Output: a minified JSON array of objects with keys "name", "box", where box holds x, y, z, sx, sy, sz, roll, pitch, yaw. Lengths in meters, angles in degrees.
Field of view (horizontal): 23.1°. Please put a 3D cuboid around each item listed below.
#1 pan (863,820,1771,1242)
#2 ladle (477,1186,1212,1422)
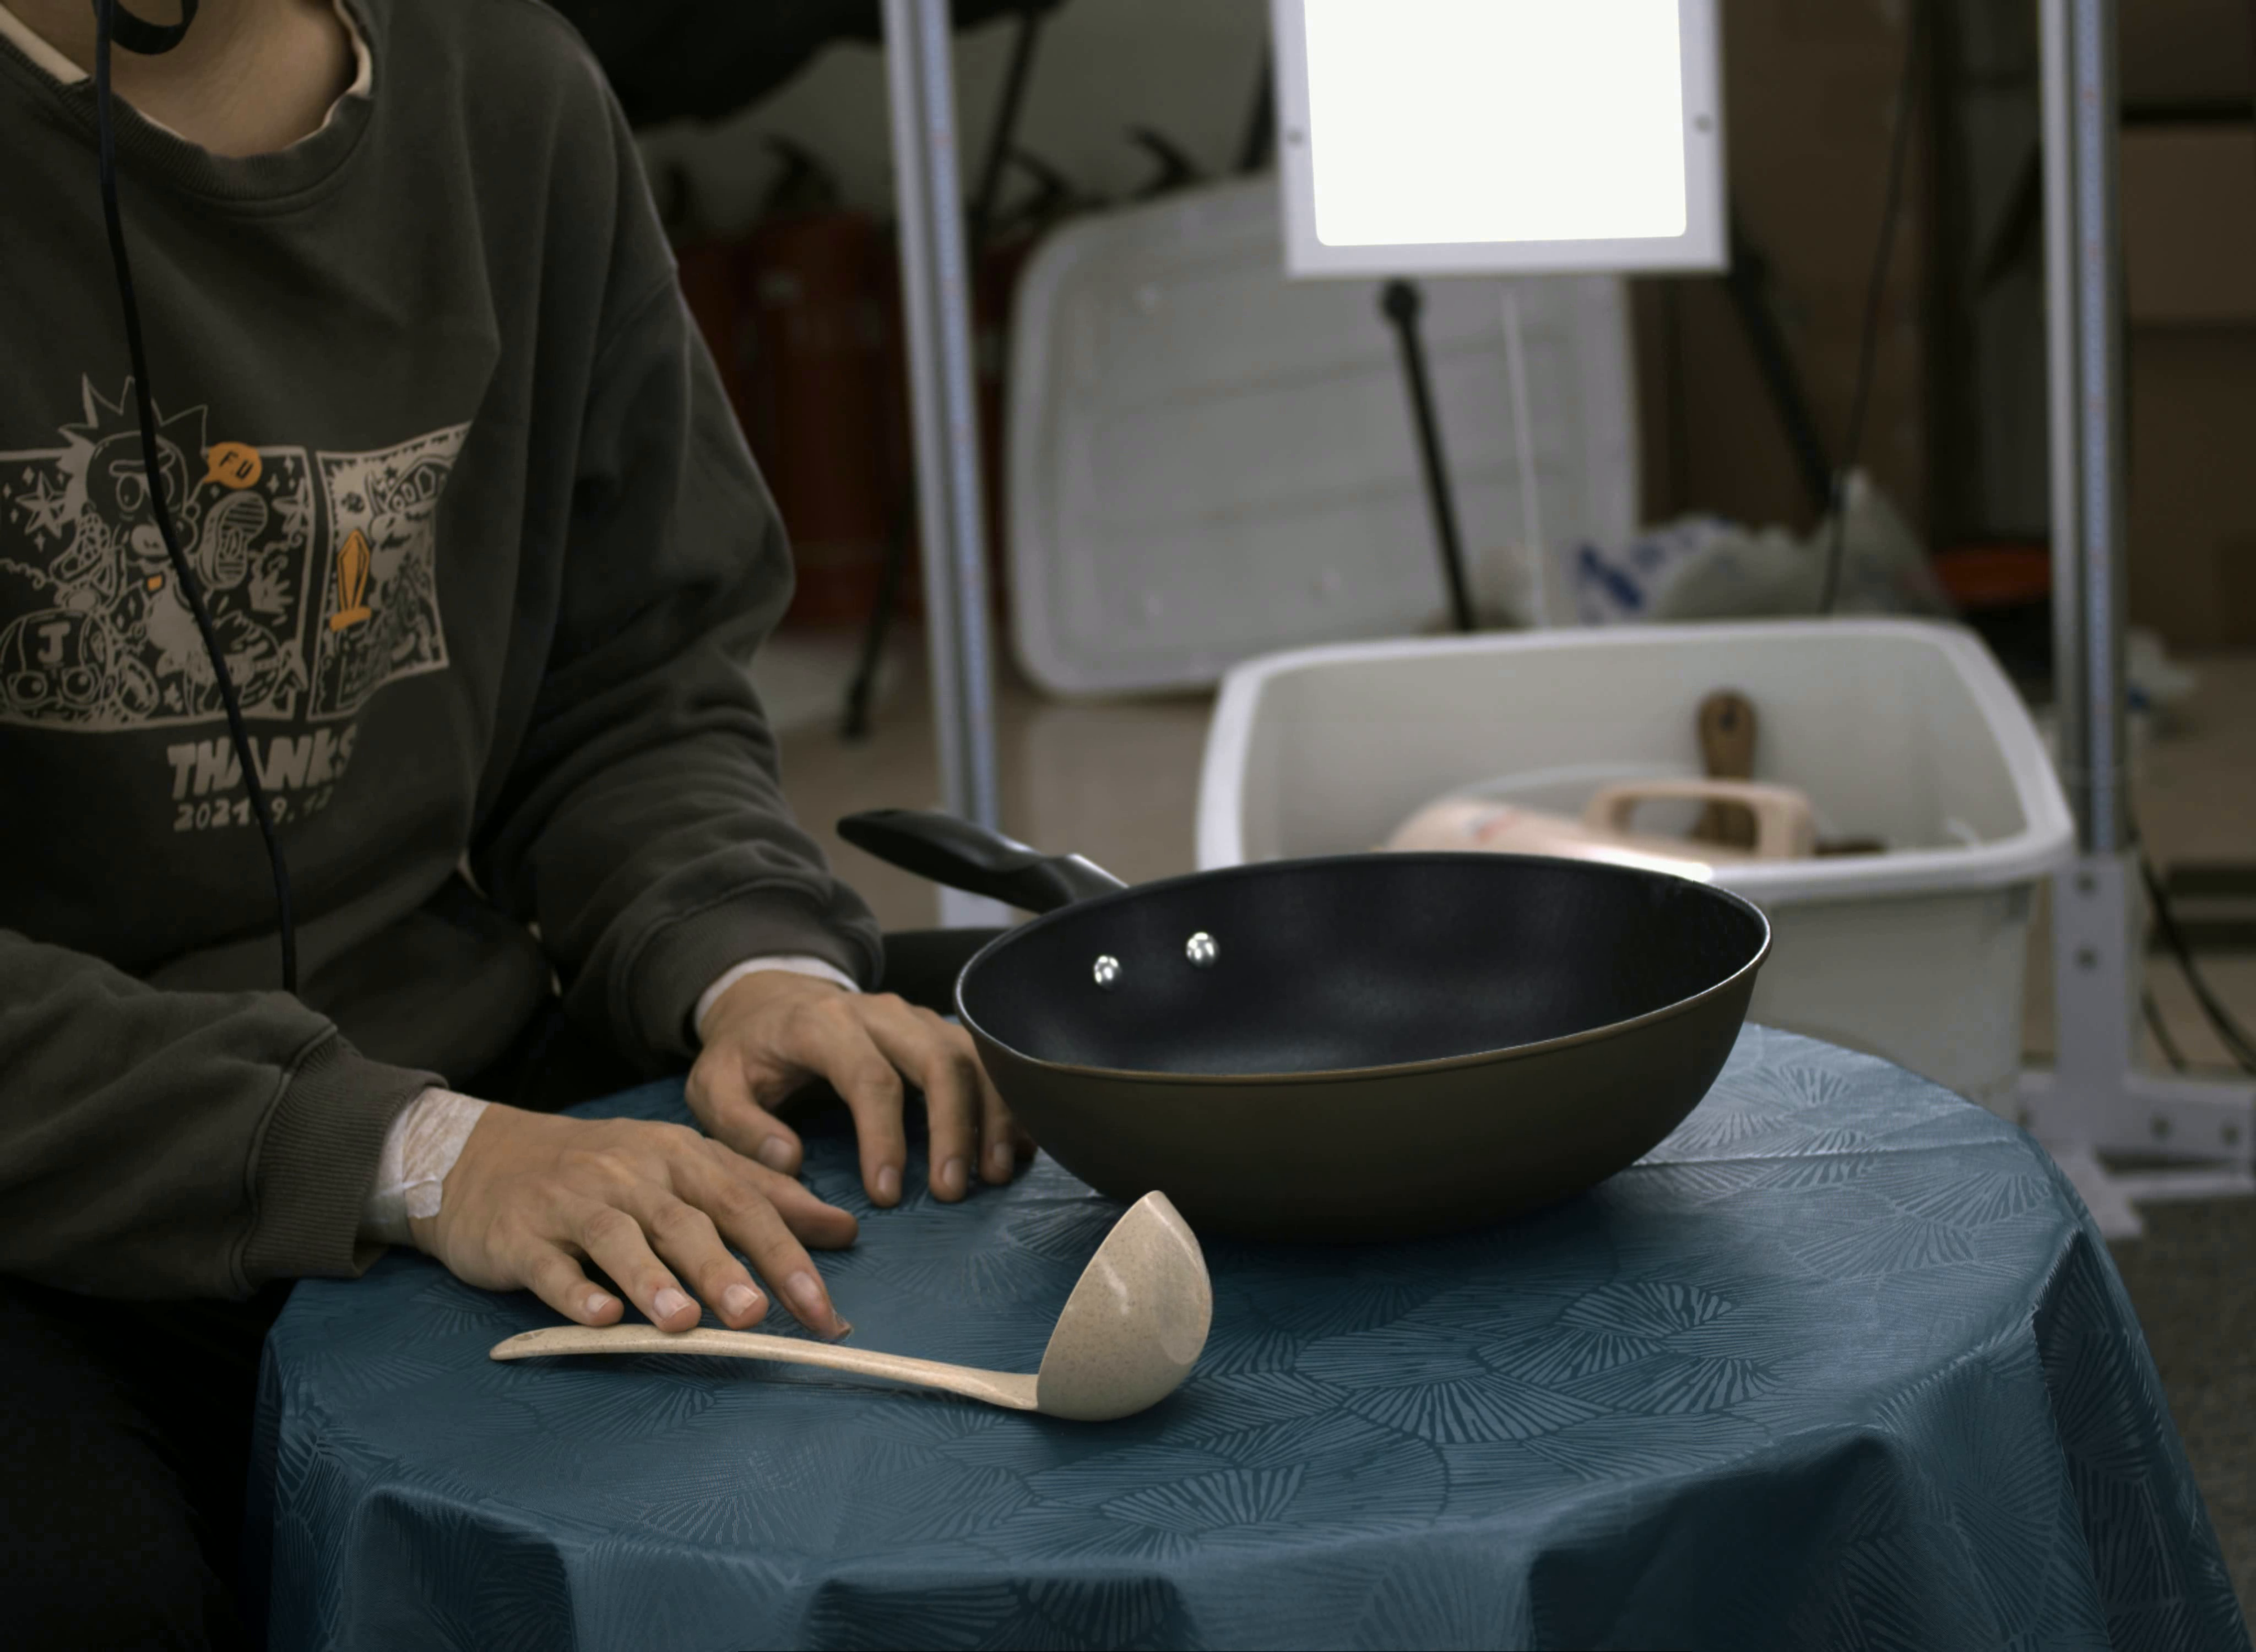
[{"name":"pan","box":[0.030,0.067,1.953,0.281,0.087,0.472,-14,15,-31]},{"name":"ladle","box":[-0.096,0.142,1.718,0.258,0.073,0.071,2,20,25]}]
